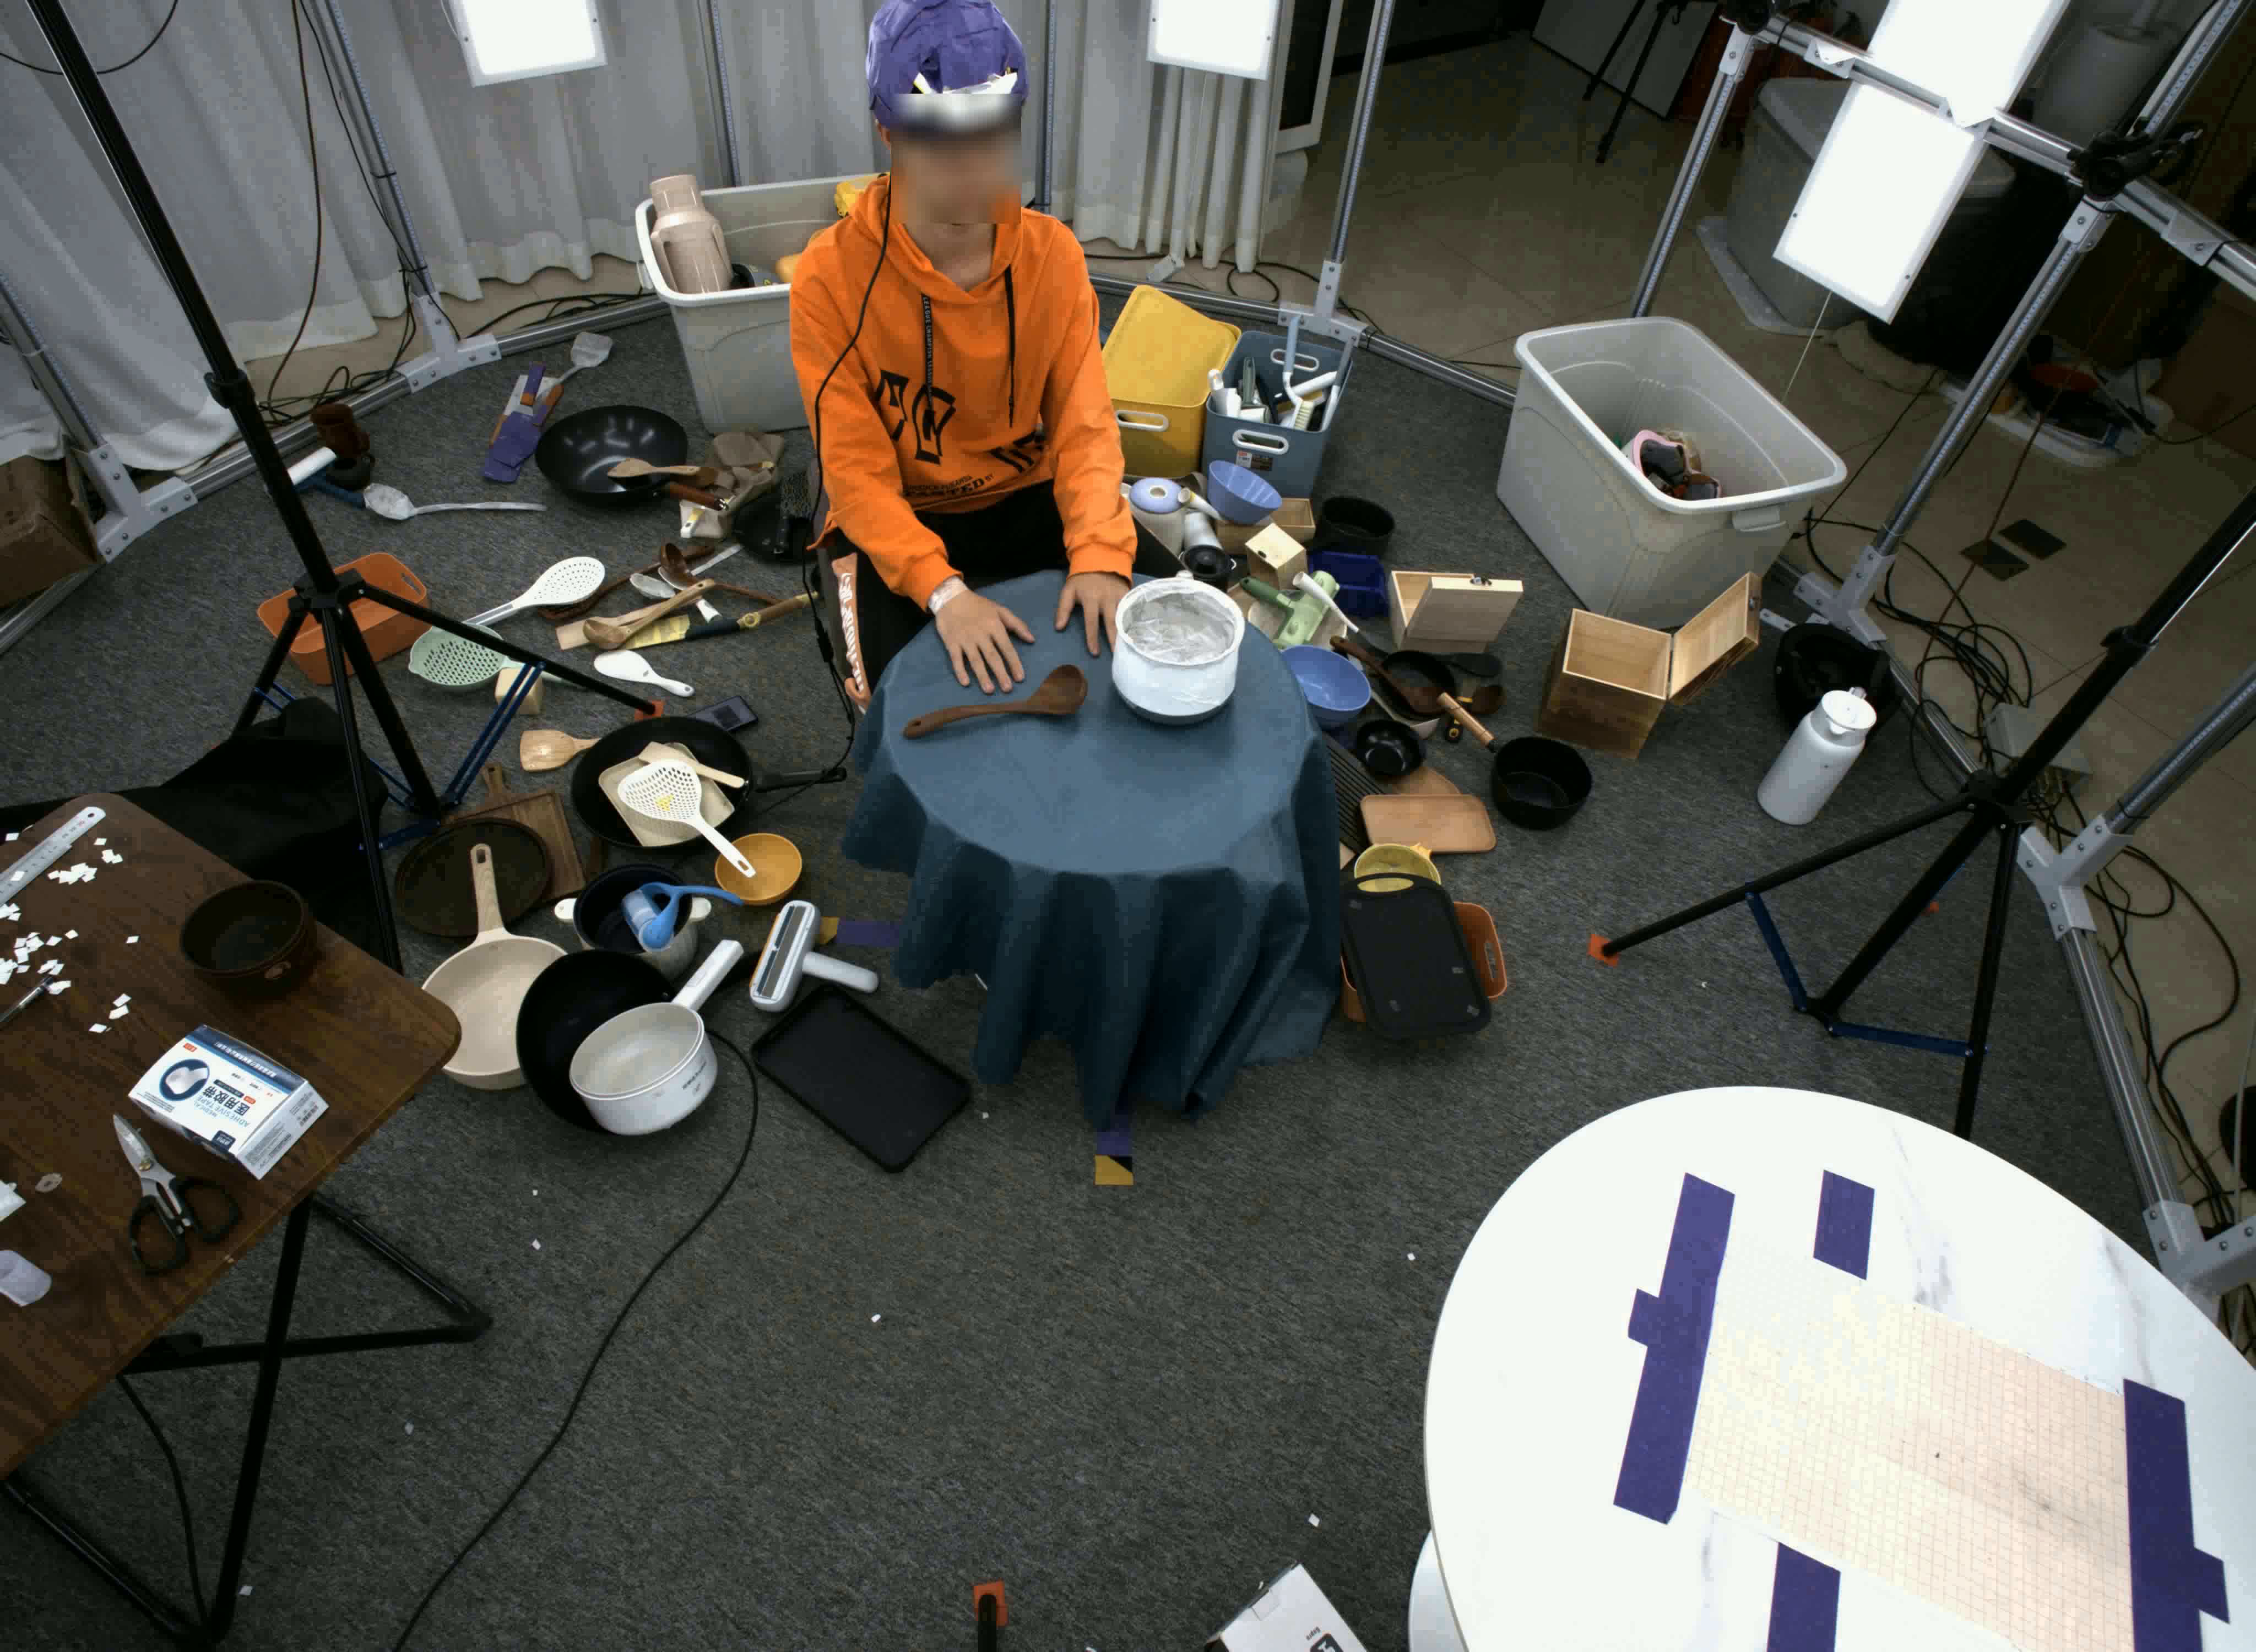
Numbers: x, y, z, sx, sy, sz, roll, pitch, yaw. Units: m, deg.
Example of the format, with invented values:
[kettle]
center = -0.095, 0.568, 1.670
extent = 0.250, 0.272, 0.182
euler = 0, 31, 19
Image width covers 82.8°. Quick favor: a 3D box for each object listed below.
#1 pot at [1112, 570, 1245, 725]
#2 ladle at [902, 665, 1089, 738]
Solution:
[pot]
center = 0.069, -0.261, 1.811
extent = 0.178, 0.133, 0.239
euler = 6, 49, 0
[ladle]
center = -0.182, -0.169, 1.762
extent = 0.260, 0.063, 0.078
euler = -11, 48, -13
